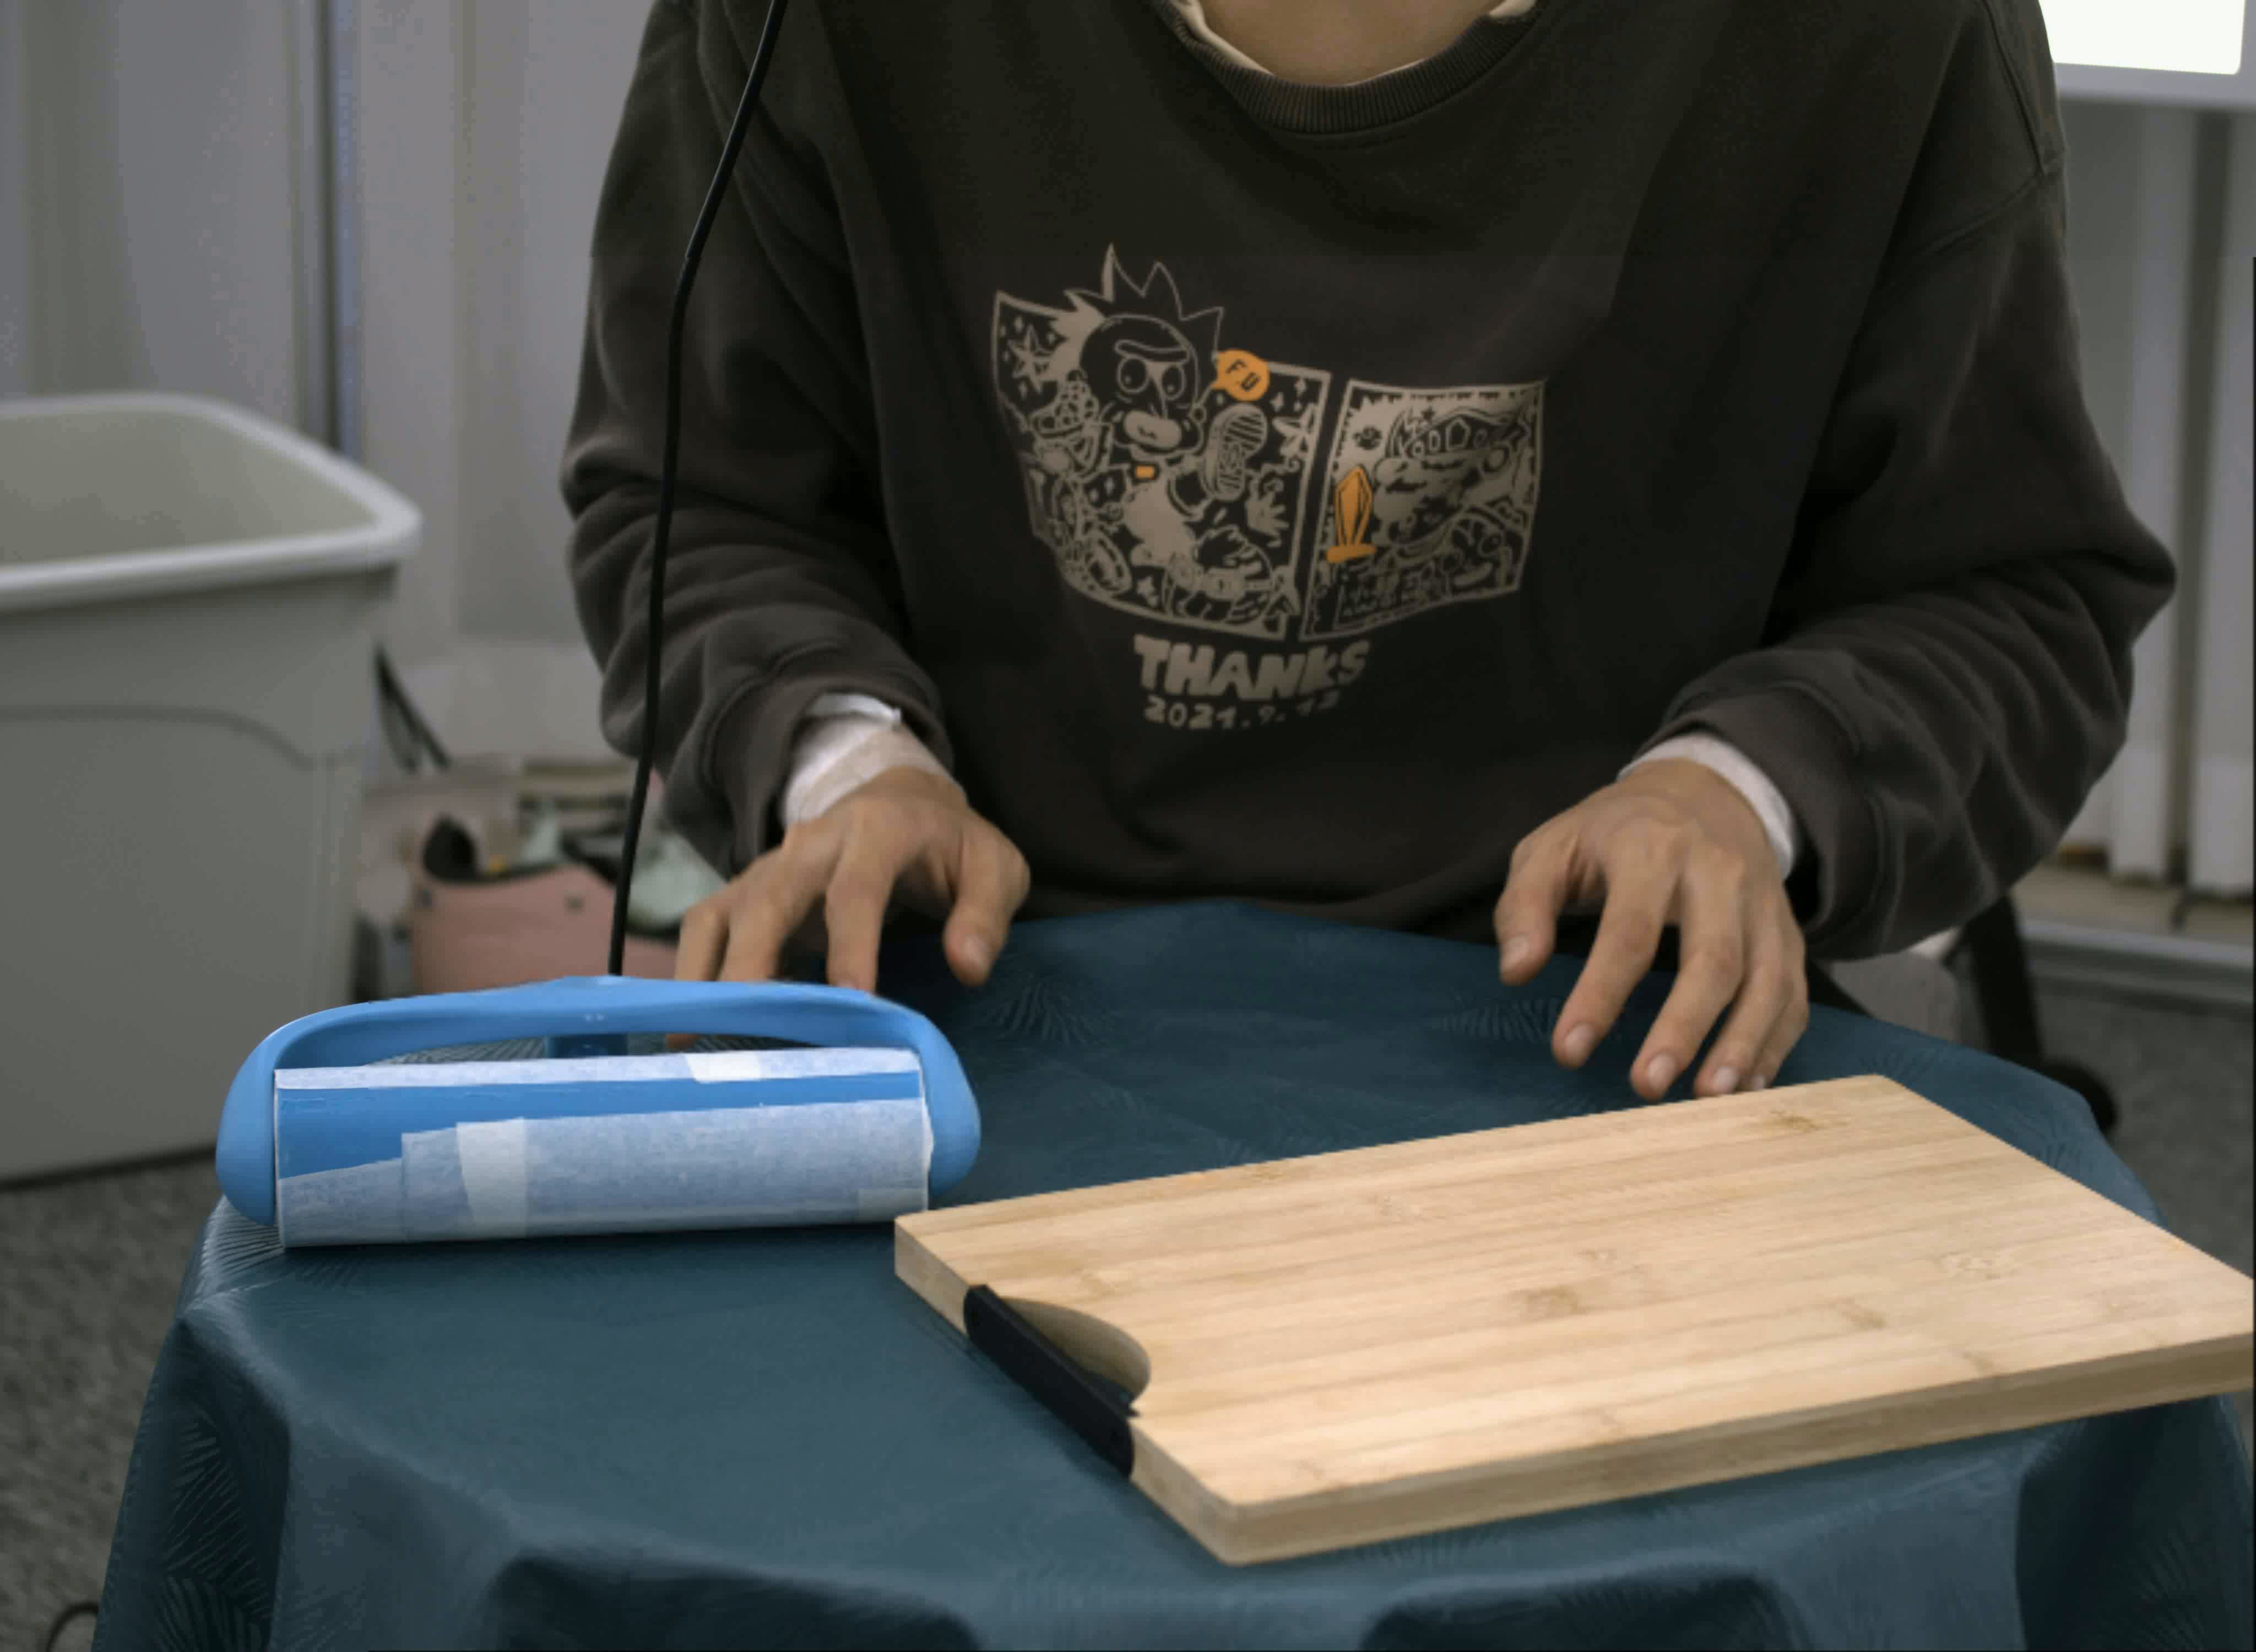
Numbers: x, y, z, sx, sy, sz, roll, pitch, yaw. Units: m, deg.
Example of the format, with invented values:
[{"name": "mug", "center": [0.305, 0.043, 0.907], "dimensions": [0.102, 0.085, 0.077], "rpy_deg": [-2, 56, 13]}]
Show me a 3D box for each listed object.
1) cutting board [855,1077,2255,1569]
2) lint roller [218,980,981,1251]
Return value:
[{"name": "cutting board", "center": [0.126, 0.137, 1.519], "dimensions": [0.350, 0.024, 0.247], "rpy_deg": [-7, 17, -24]}, {"name": "lint roller", "center": [-0.168, 0.078, 1.639], "dimensions": [0.229, 0.068, 0.178], "rpy_deg": [-3, 18, -10]}]
